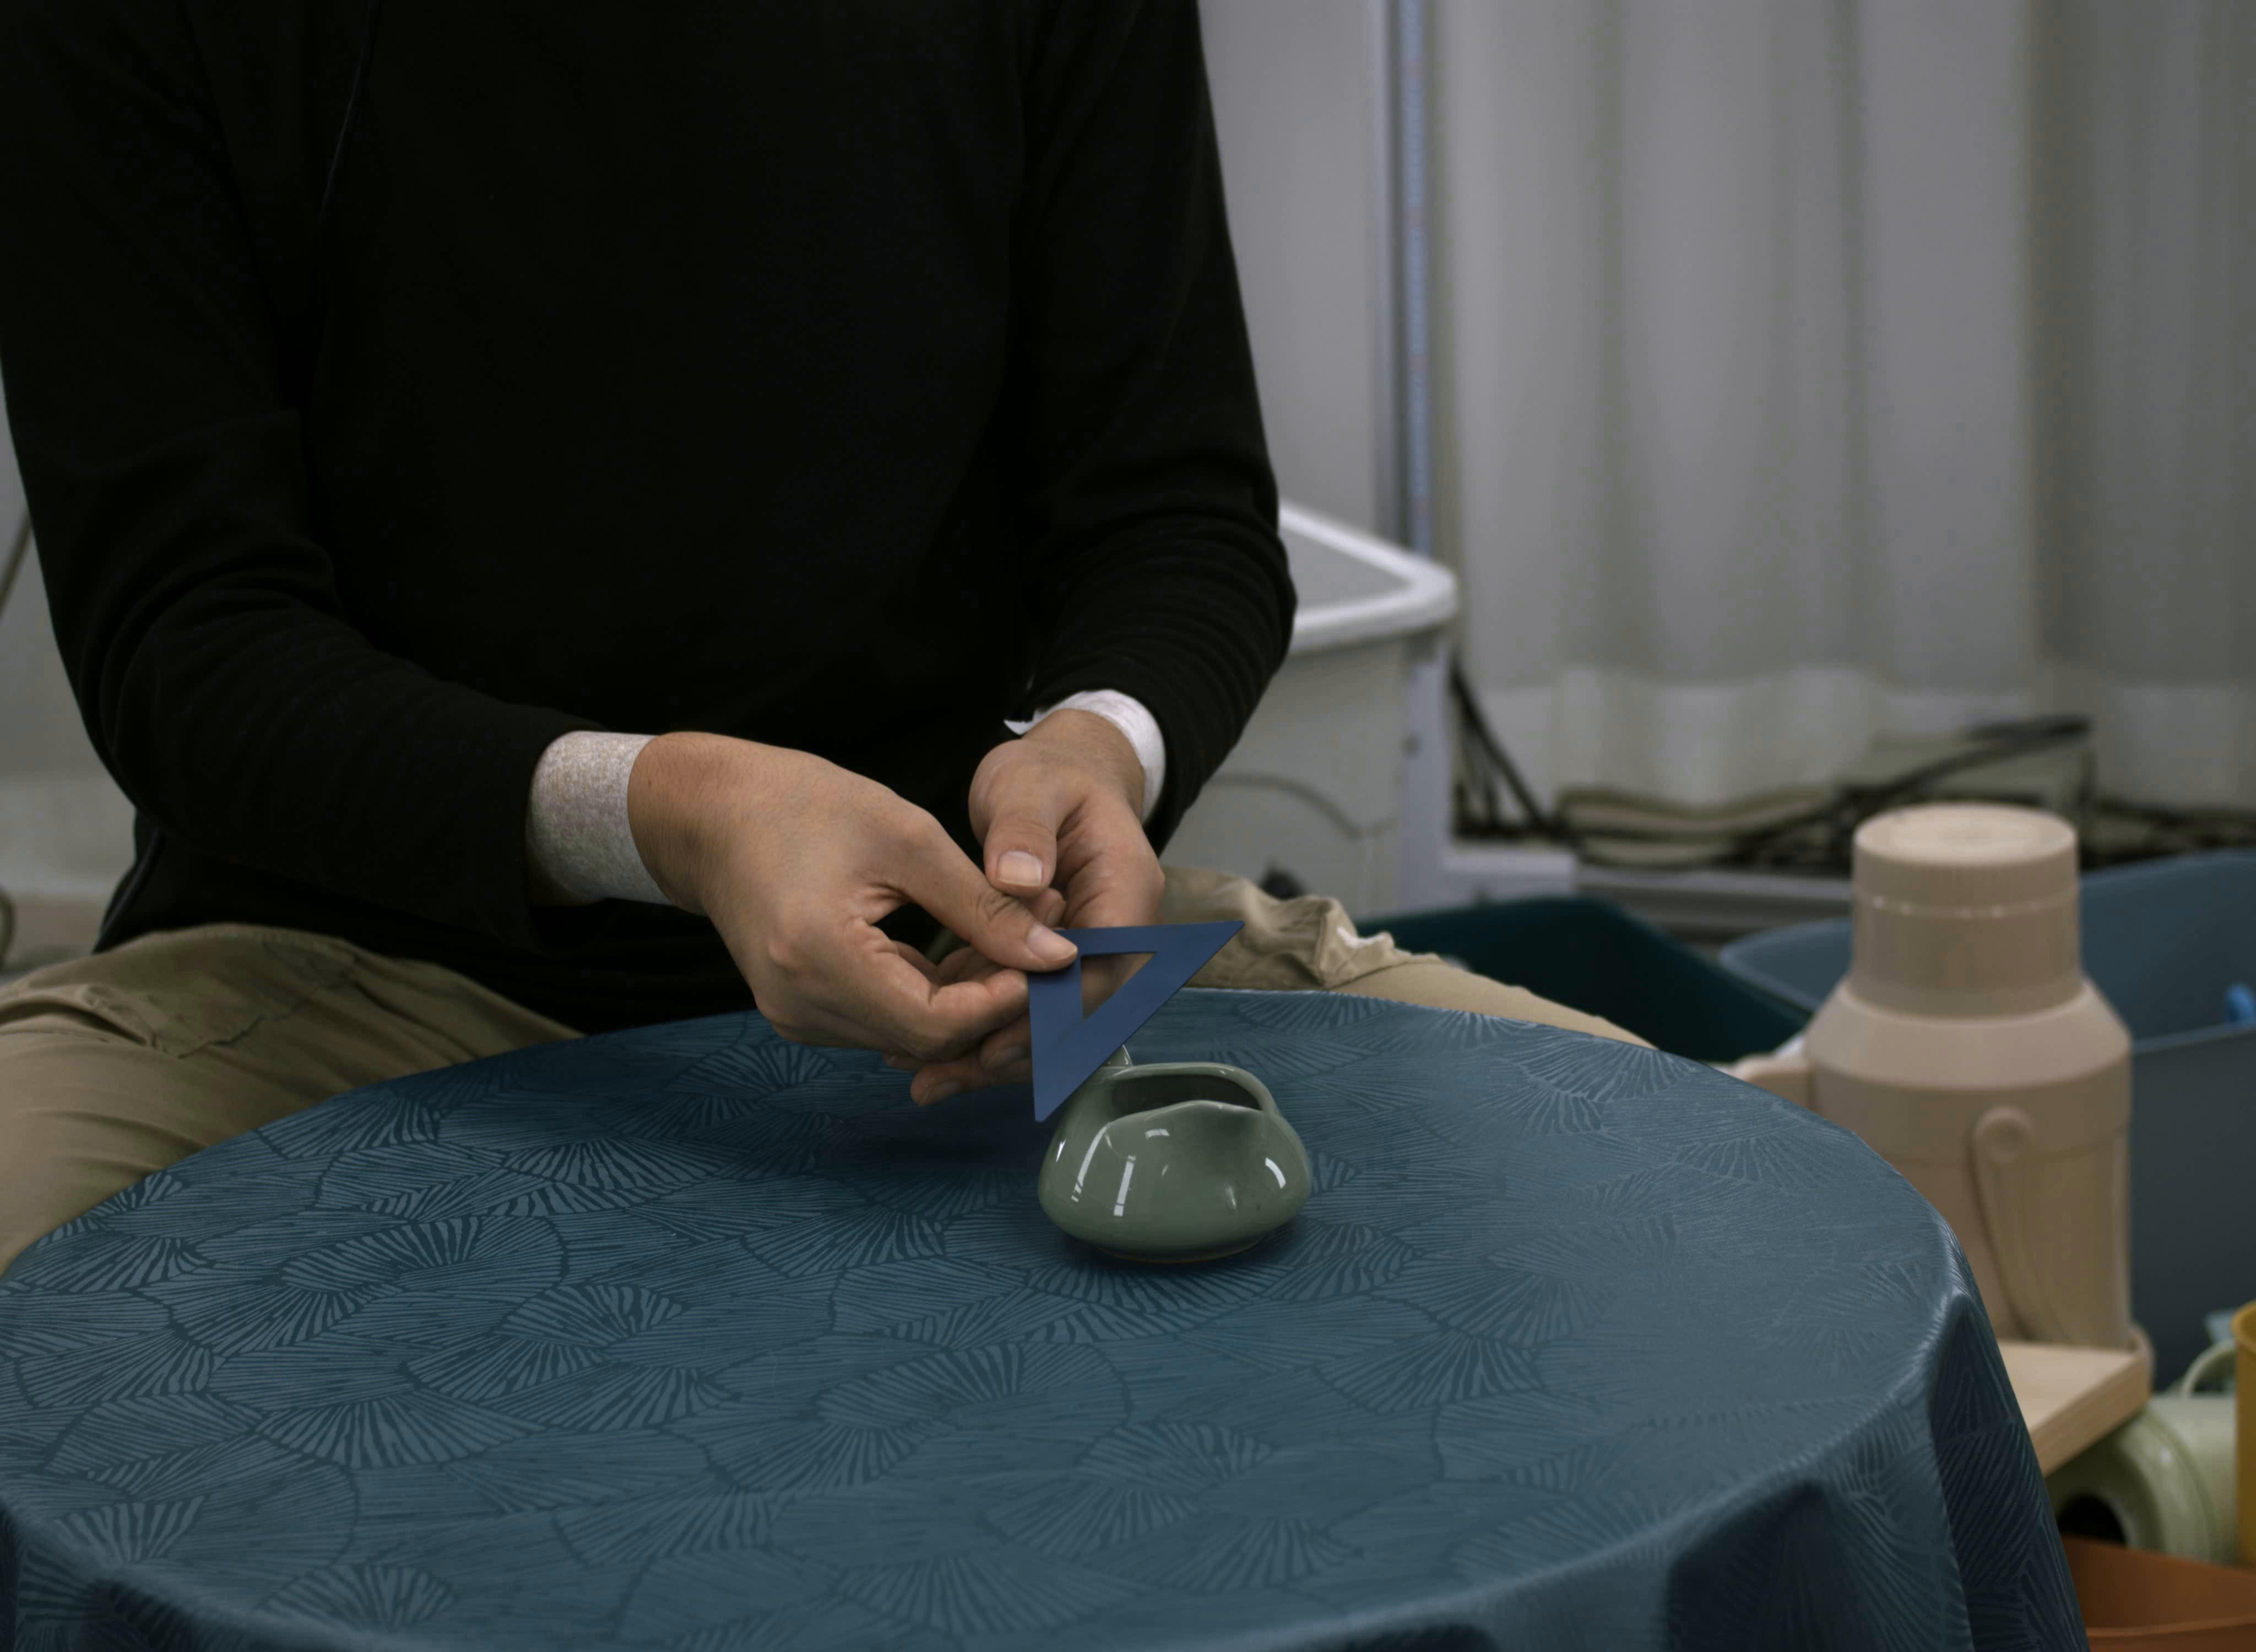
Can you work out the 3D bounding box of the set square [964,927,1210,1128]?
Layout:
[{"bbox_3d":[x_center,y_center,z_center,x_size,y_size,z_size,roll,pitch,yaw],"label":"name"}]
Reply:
[{"bbox_3d":[-0.030,0.057,1.707,0.061,0.006,0.132,15,32,27],"label":"set square"}]

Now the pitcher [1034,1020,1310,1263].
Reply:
[{"bbox_3d":[0.010,0.097,1.670,0.084,0.056,0.113,-8,16,-28],"label":"pitcher"}]
